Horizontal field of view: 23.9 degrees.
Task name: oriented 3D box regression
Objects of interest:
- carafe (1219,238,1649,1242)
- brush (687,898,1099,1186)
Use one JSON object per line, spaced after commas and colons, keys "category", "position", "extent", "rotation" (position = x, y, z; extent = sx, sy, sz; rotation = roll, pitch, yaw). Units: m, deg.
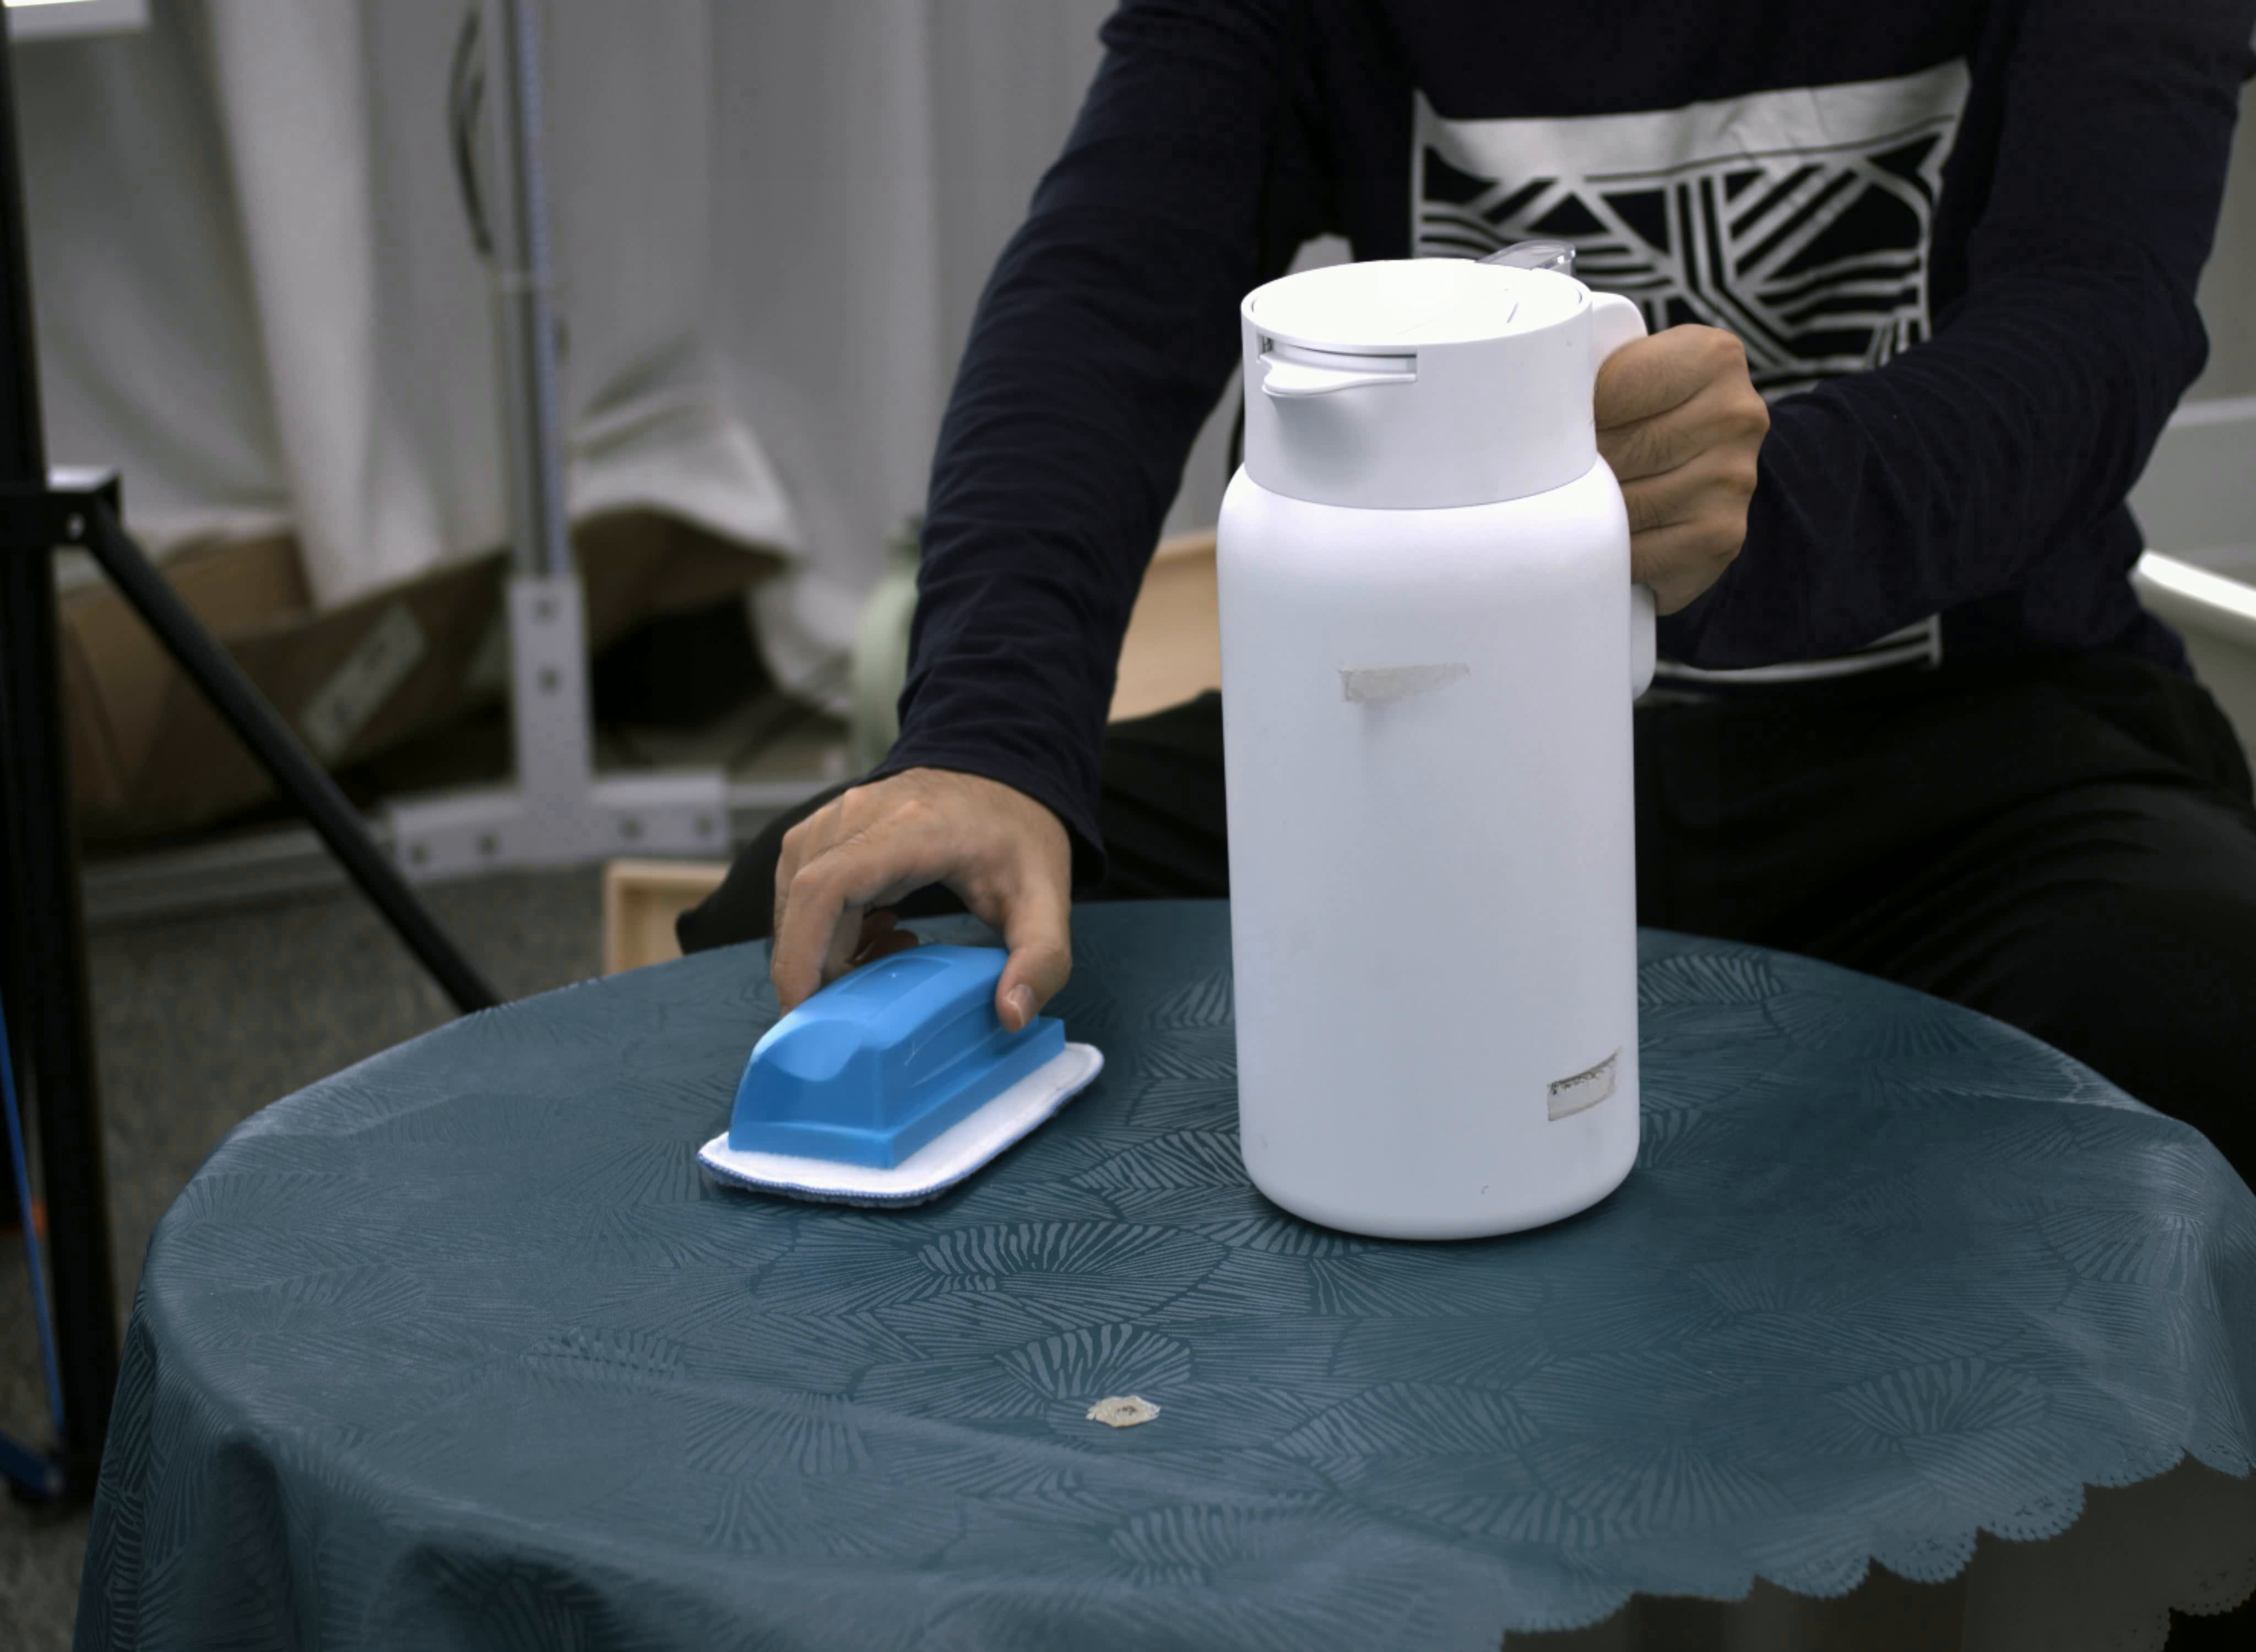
{"category": "carafe", "position": [0.095, -0.028, 1.527], "extent": [0.126, 0.268, 0.169], "rotation": [8, 21, 35]}
{"category": "brush", "position": [-0.070, 0.062, 1.620], "extent": [0.085, 0.056, 0.142], "rotation": [9, 22, 25]}
